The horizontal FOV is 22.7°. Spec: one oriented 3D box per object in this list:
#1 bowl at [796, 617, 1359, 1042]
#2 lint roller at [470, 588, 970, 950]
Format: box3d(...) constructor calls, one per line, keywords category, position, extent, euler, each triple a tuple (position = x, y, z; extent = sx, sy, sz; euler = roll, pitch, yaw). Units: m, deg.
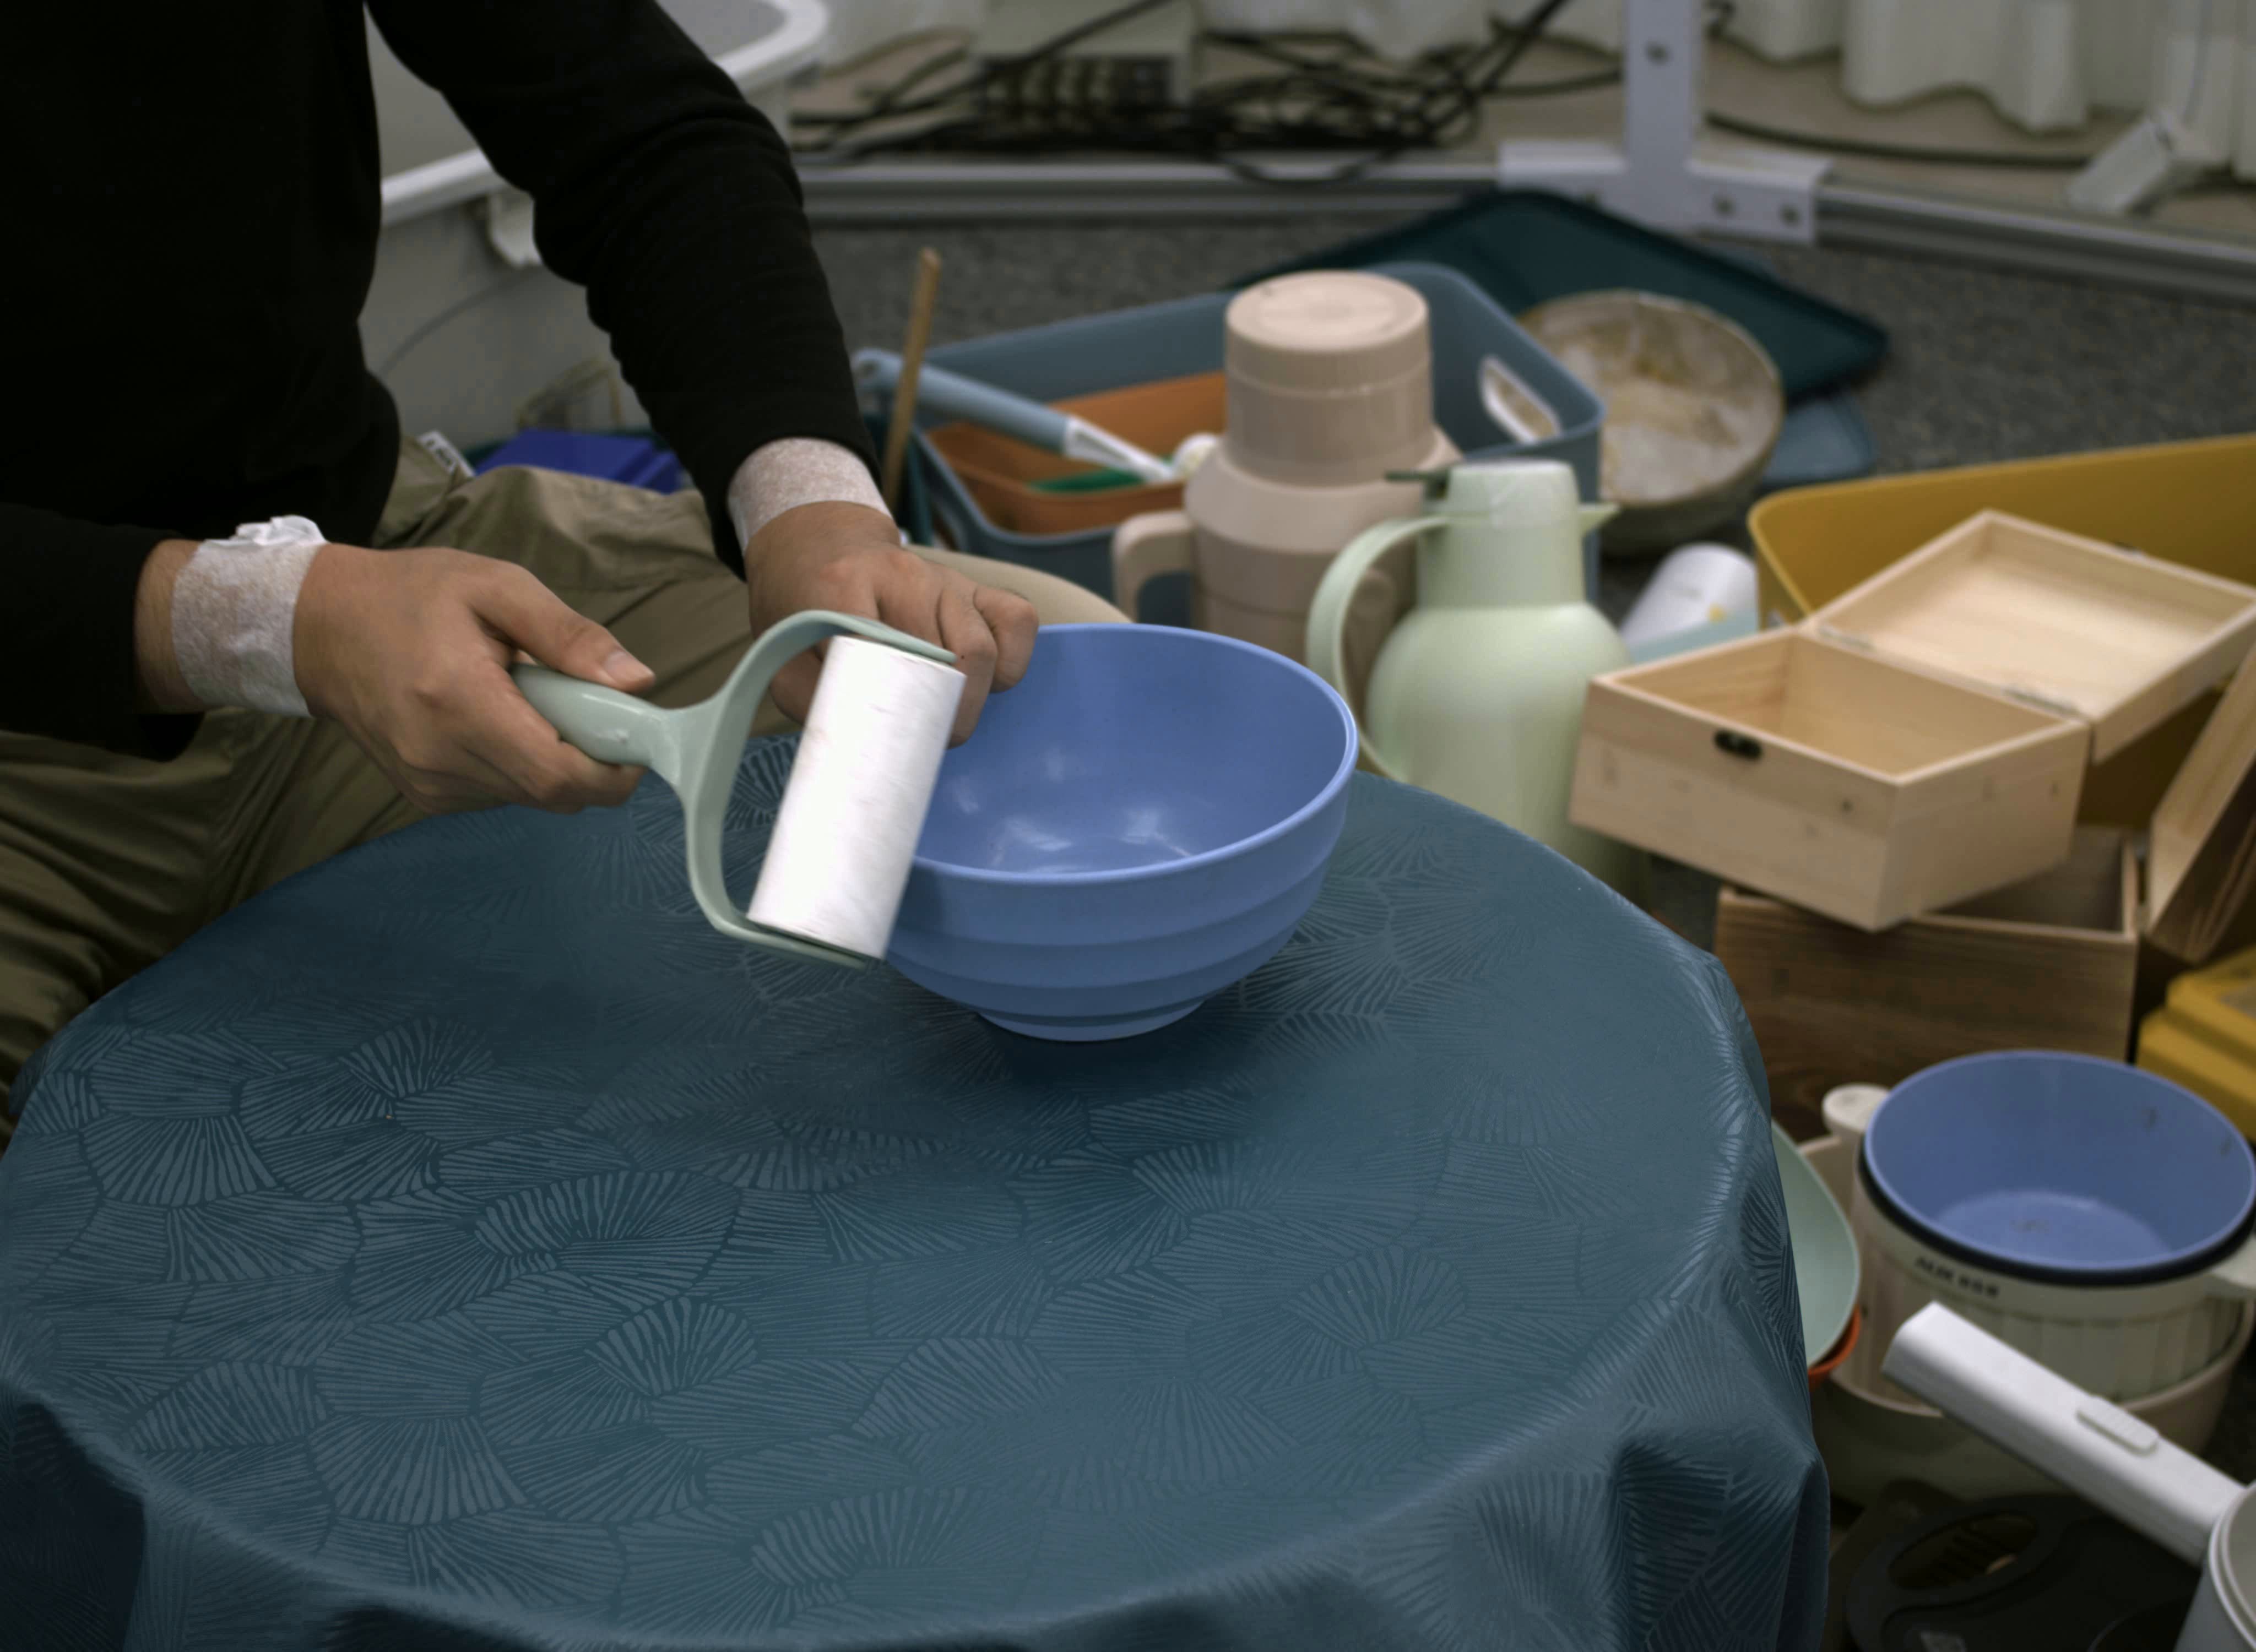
box3d(category="bowl", position=(-0.015, 0.012, 1.970), extent=(0.195, 0.094, 0.199), euler=(-2, 28, 1))
box3d(category="lint roller", position=(-0.149, -0.032, 1.901), extent=(0.196, 0.117, 0.048), euler=(14, -4, 28))
